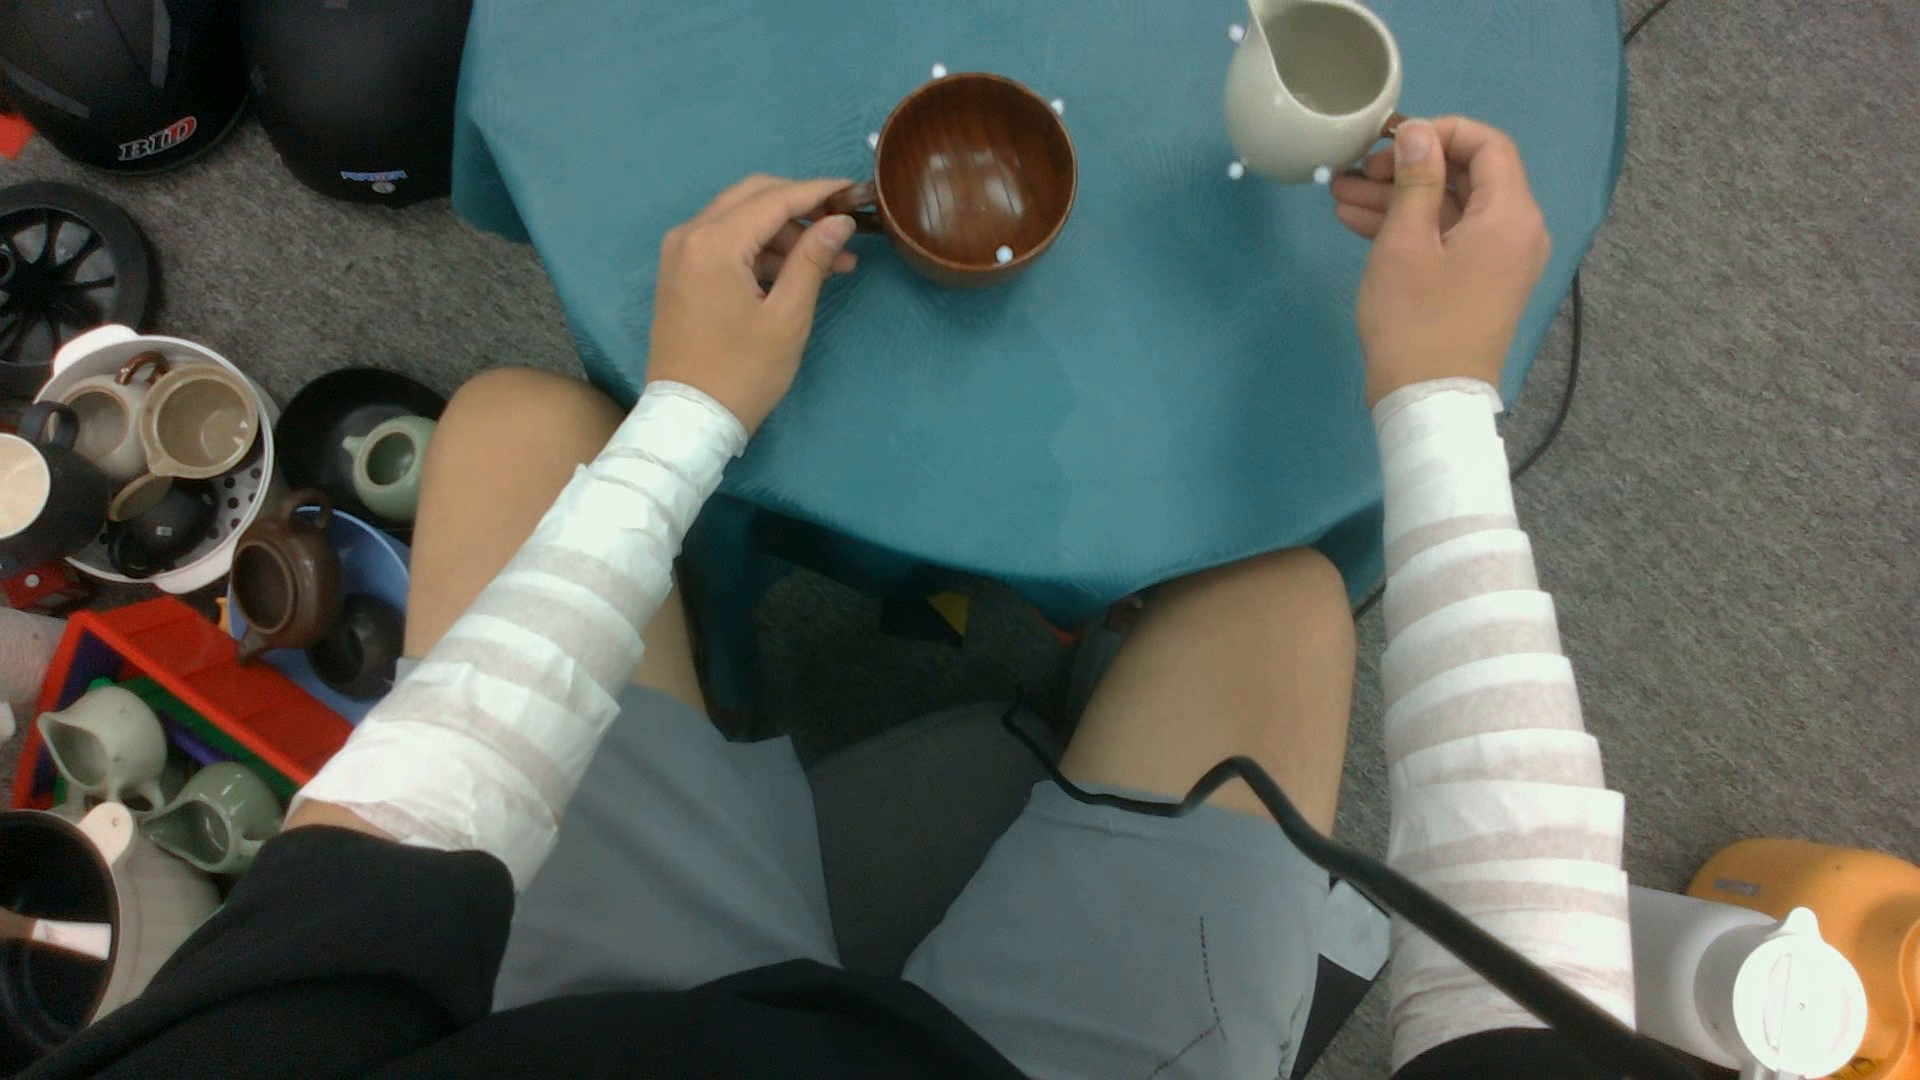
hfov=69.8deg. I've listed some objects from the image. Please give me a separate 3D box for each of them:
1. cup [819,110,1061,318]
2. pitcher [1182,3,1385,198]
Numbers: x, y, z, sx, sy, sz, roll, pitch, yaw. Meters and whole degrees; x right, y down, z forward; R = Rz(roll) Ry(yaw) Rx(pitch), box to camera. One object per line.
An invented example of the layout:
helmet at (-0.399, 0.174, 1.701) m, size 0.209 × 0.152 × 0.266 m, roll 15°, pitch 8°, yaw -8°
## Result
cup at (-0.012, -0.153, 0.684) m, size 0.119 × 0.067 × 0.096 m, roll -15°, pitch 86°, yaw -5°
pitcher at (0.150, -0.198, 0.656) m, size 0.119 × 0.088 × 0.076 m, roll 42°, pitch 87°, yaw 8°
